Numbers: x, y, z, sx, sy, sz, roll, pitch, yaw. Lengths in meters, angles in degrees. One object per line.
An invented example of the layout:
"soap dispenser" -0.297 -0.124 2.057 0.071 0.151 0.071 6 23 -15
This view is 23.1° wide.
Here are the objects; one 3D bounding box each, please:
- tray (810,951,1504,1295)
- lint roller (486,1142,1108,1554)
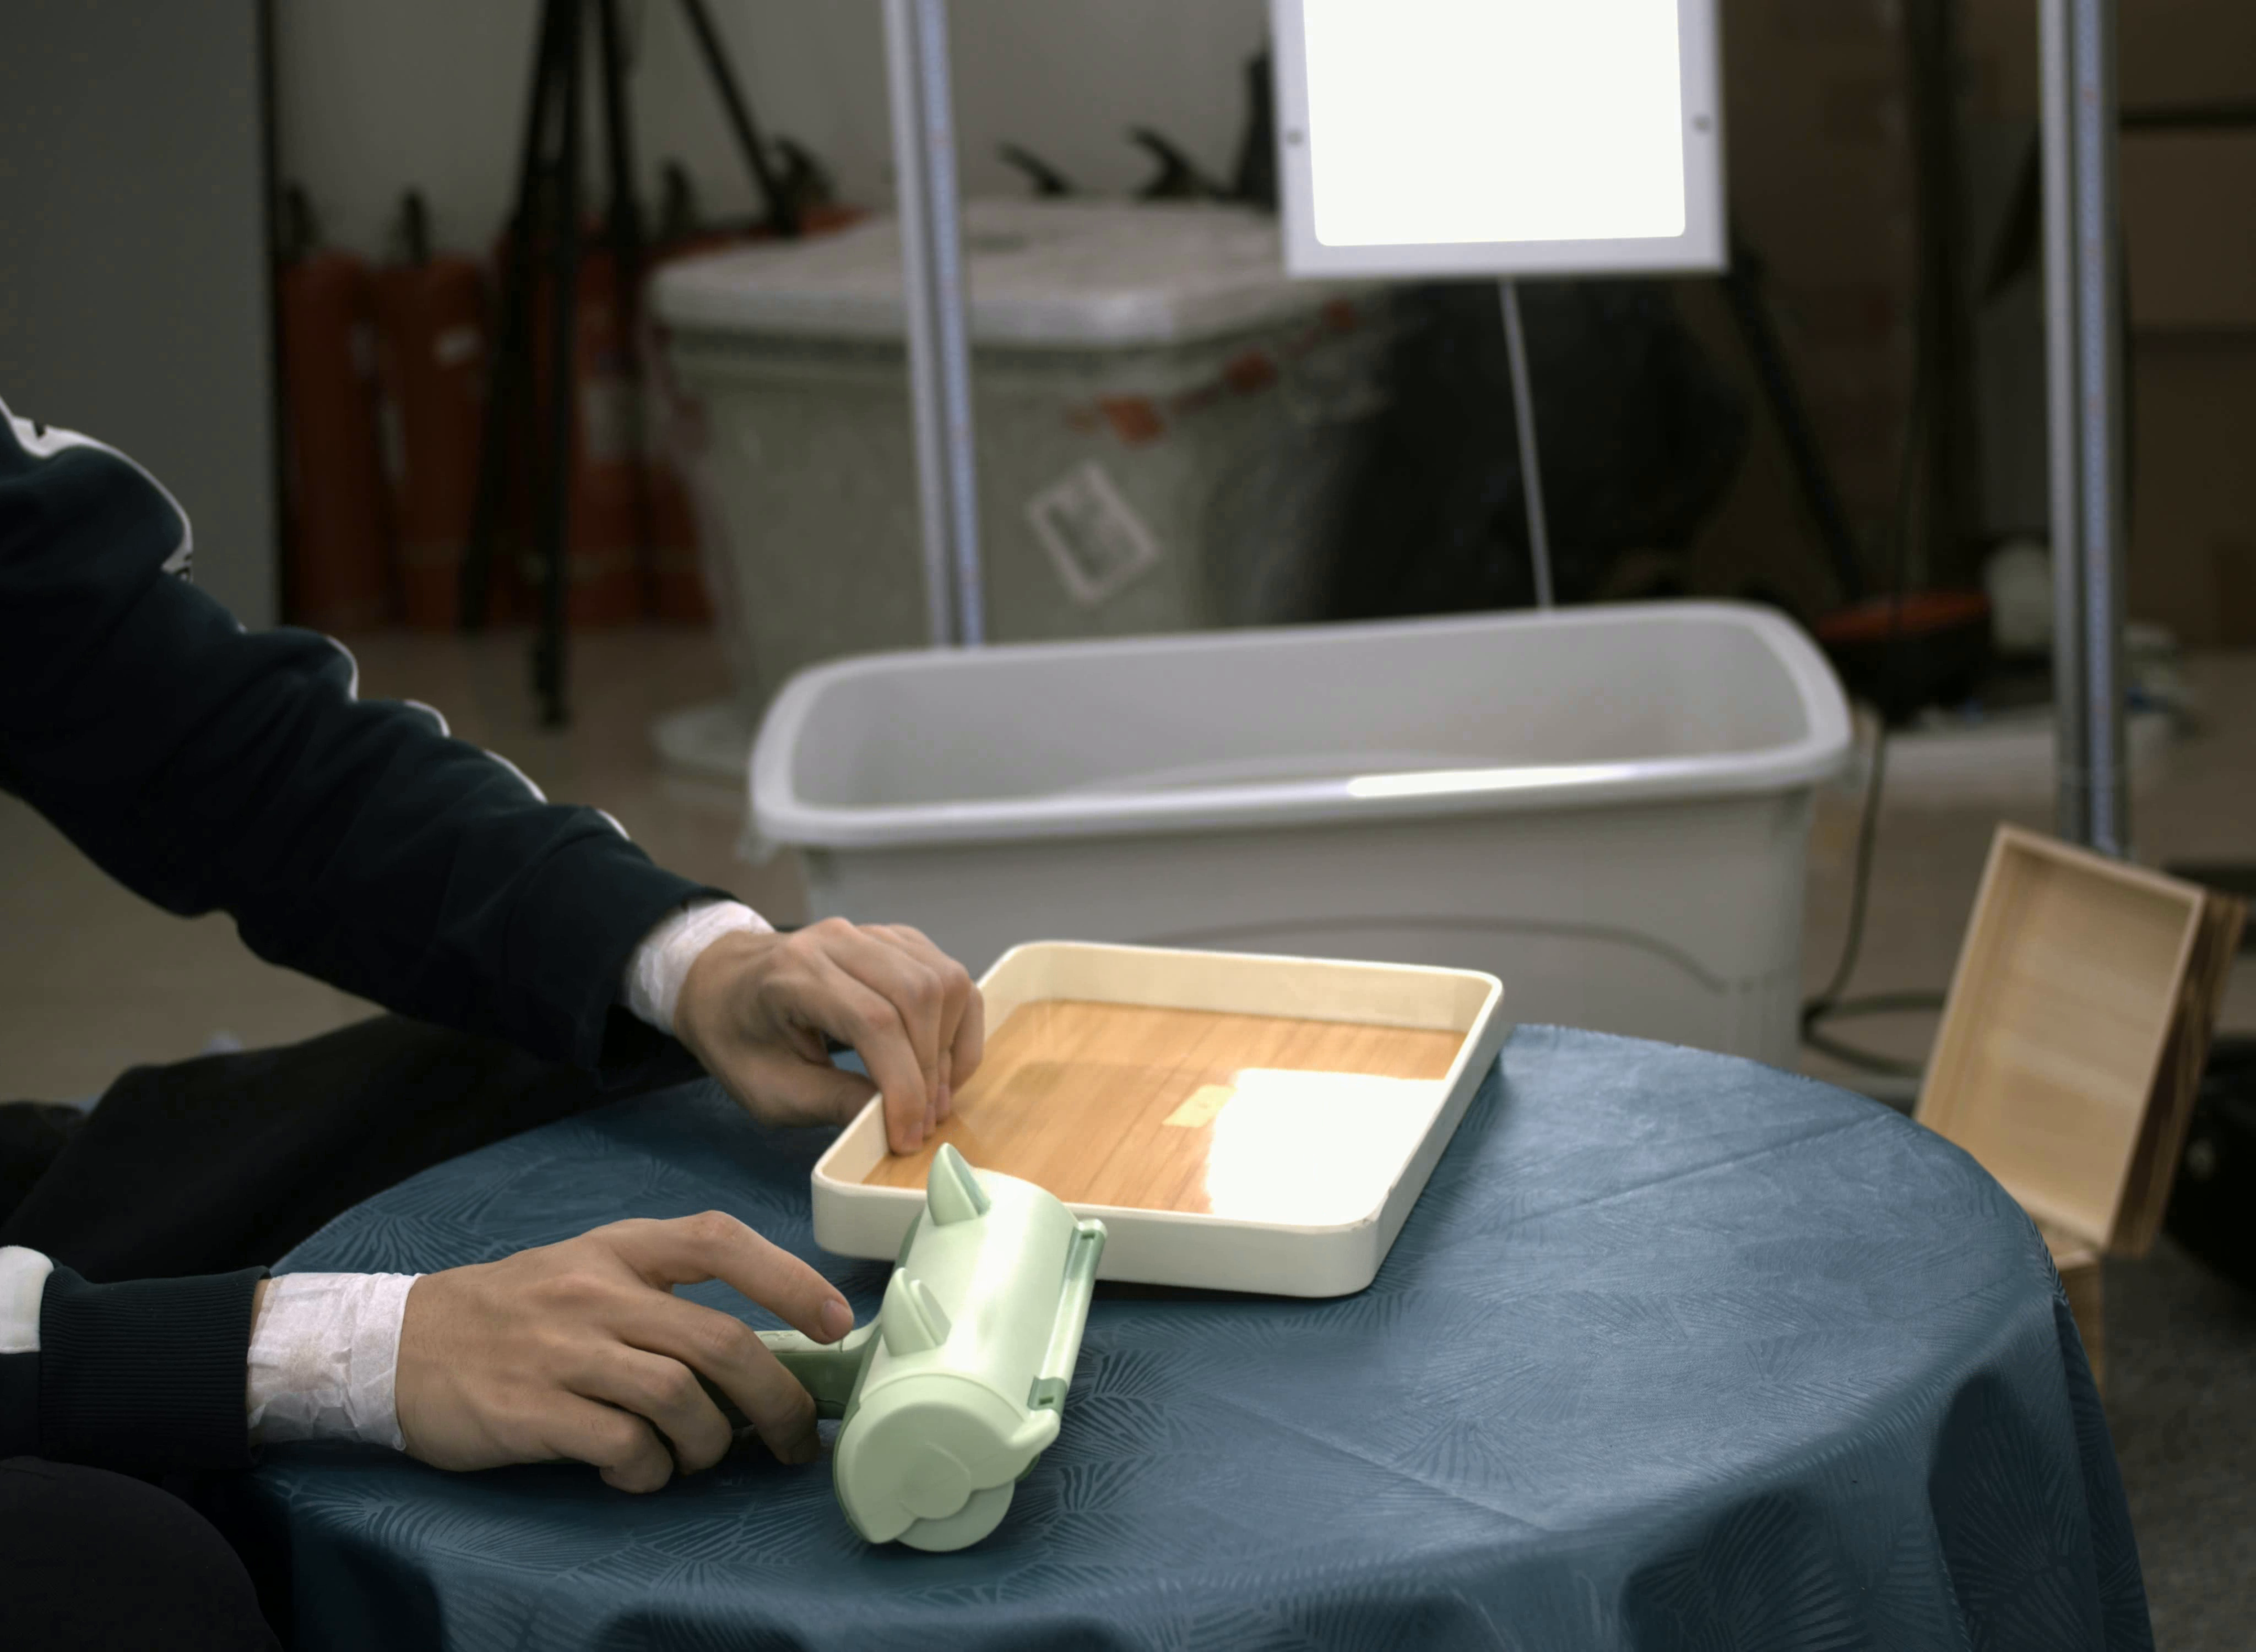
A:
"tray" 0.017 0.099 1.917 0.193 0.027 0.296 2 15 14
"lint roller" -0.104 0.152 1.664 0.184 0.082 0.197 1 15 6
